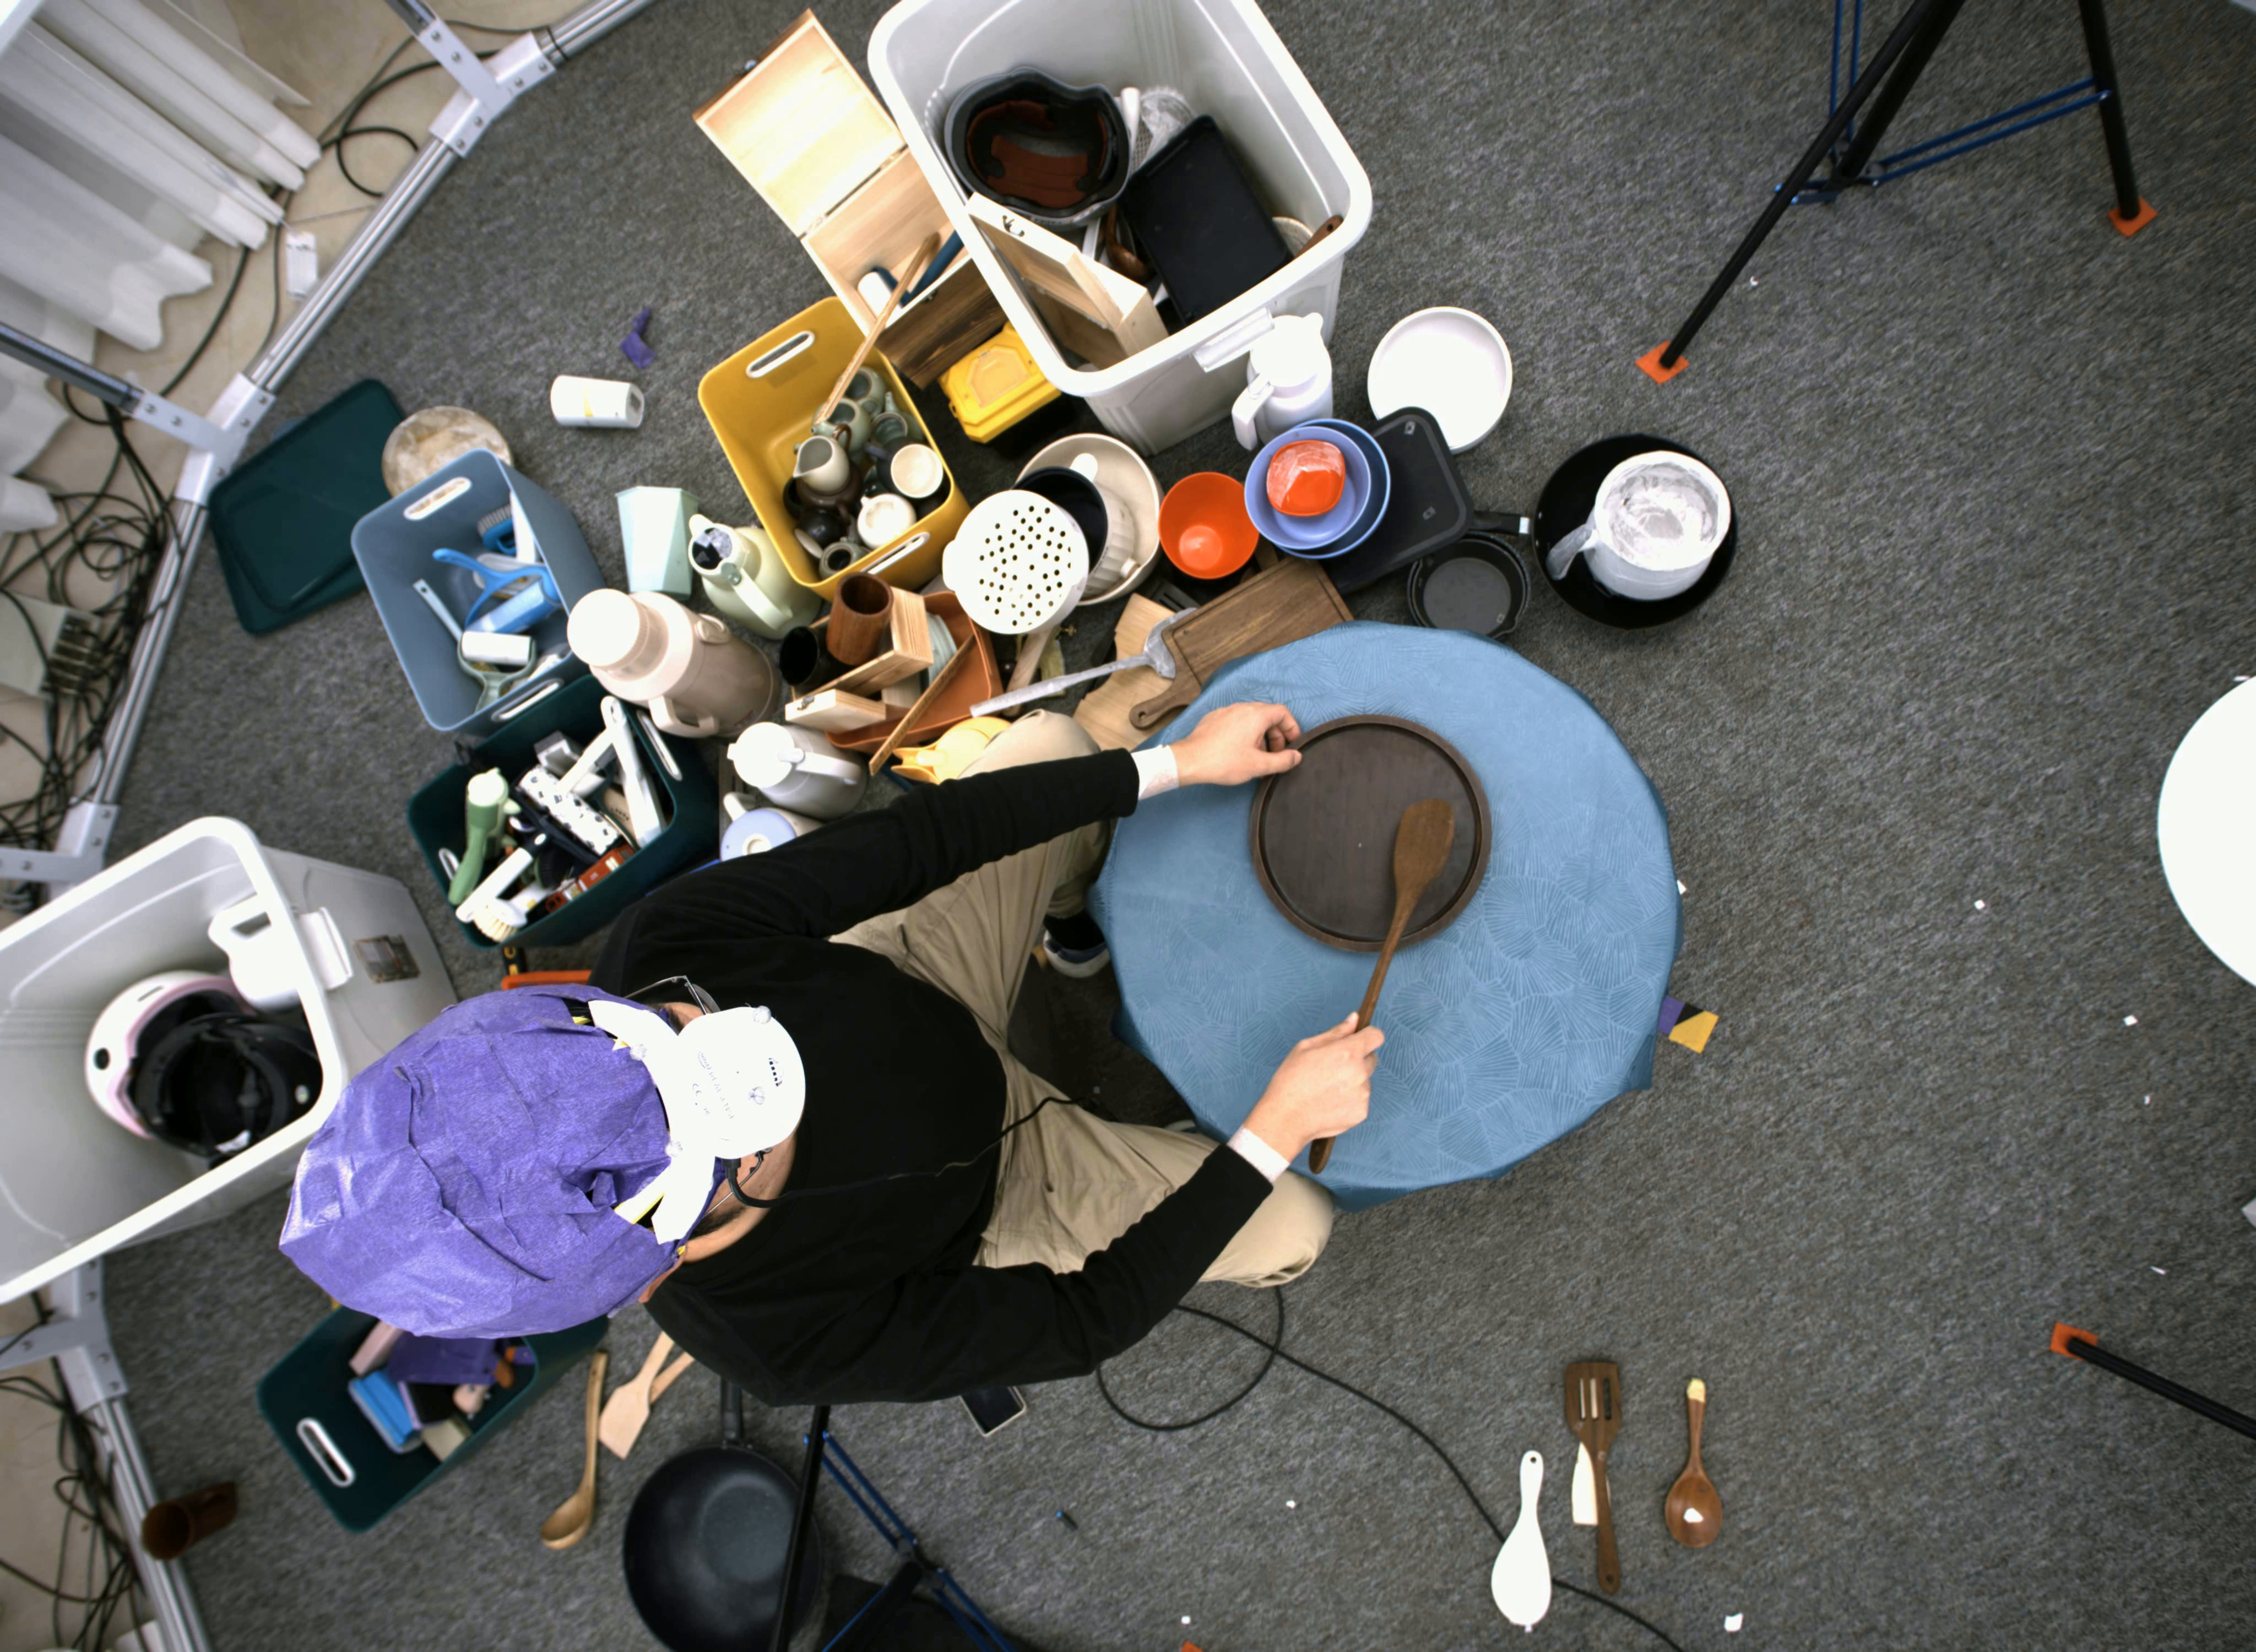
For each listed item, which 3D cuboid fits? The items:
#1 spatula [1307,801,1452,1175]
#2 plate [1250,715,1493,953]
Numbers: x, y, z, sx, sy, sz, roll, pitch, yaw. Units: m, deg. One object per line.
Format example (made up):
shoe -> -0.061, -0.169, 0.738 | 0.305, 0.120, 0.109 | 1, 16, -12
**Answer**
spatula -> 0.241, 0.154, 1.356 | 0.016, 0.096, 0.384 | 21, 85, -19
plate -> 0.255, 0.007, 1.454 | 0.256, 0.029, 0.254 | -1, 88, 10
